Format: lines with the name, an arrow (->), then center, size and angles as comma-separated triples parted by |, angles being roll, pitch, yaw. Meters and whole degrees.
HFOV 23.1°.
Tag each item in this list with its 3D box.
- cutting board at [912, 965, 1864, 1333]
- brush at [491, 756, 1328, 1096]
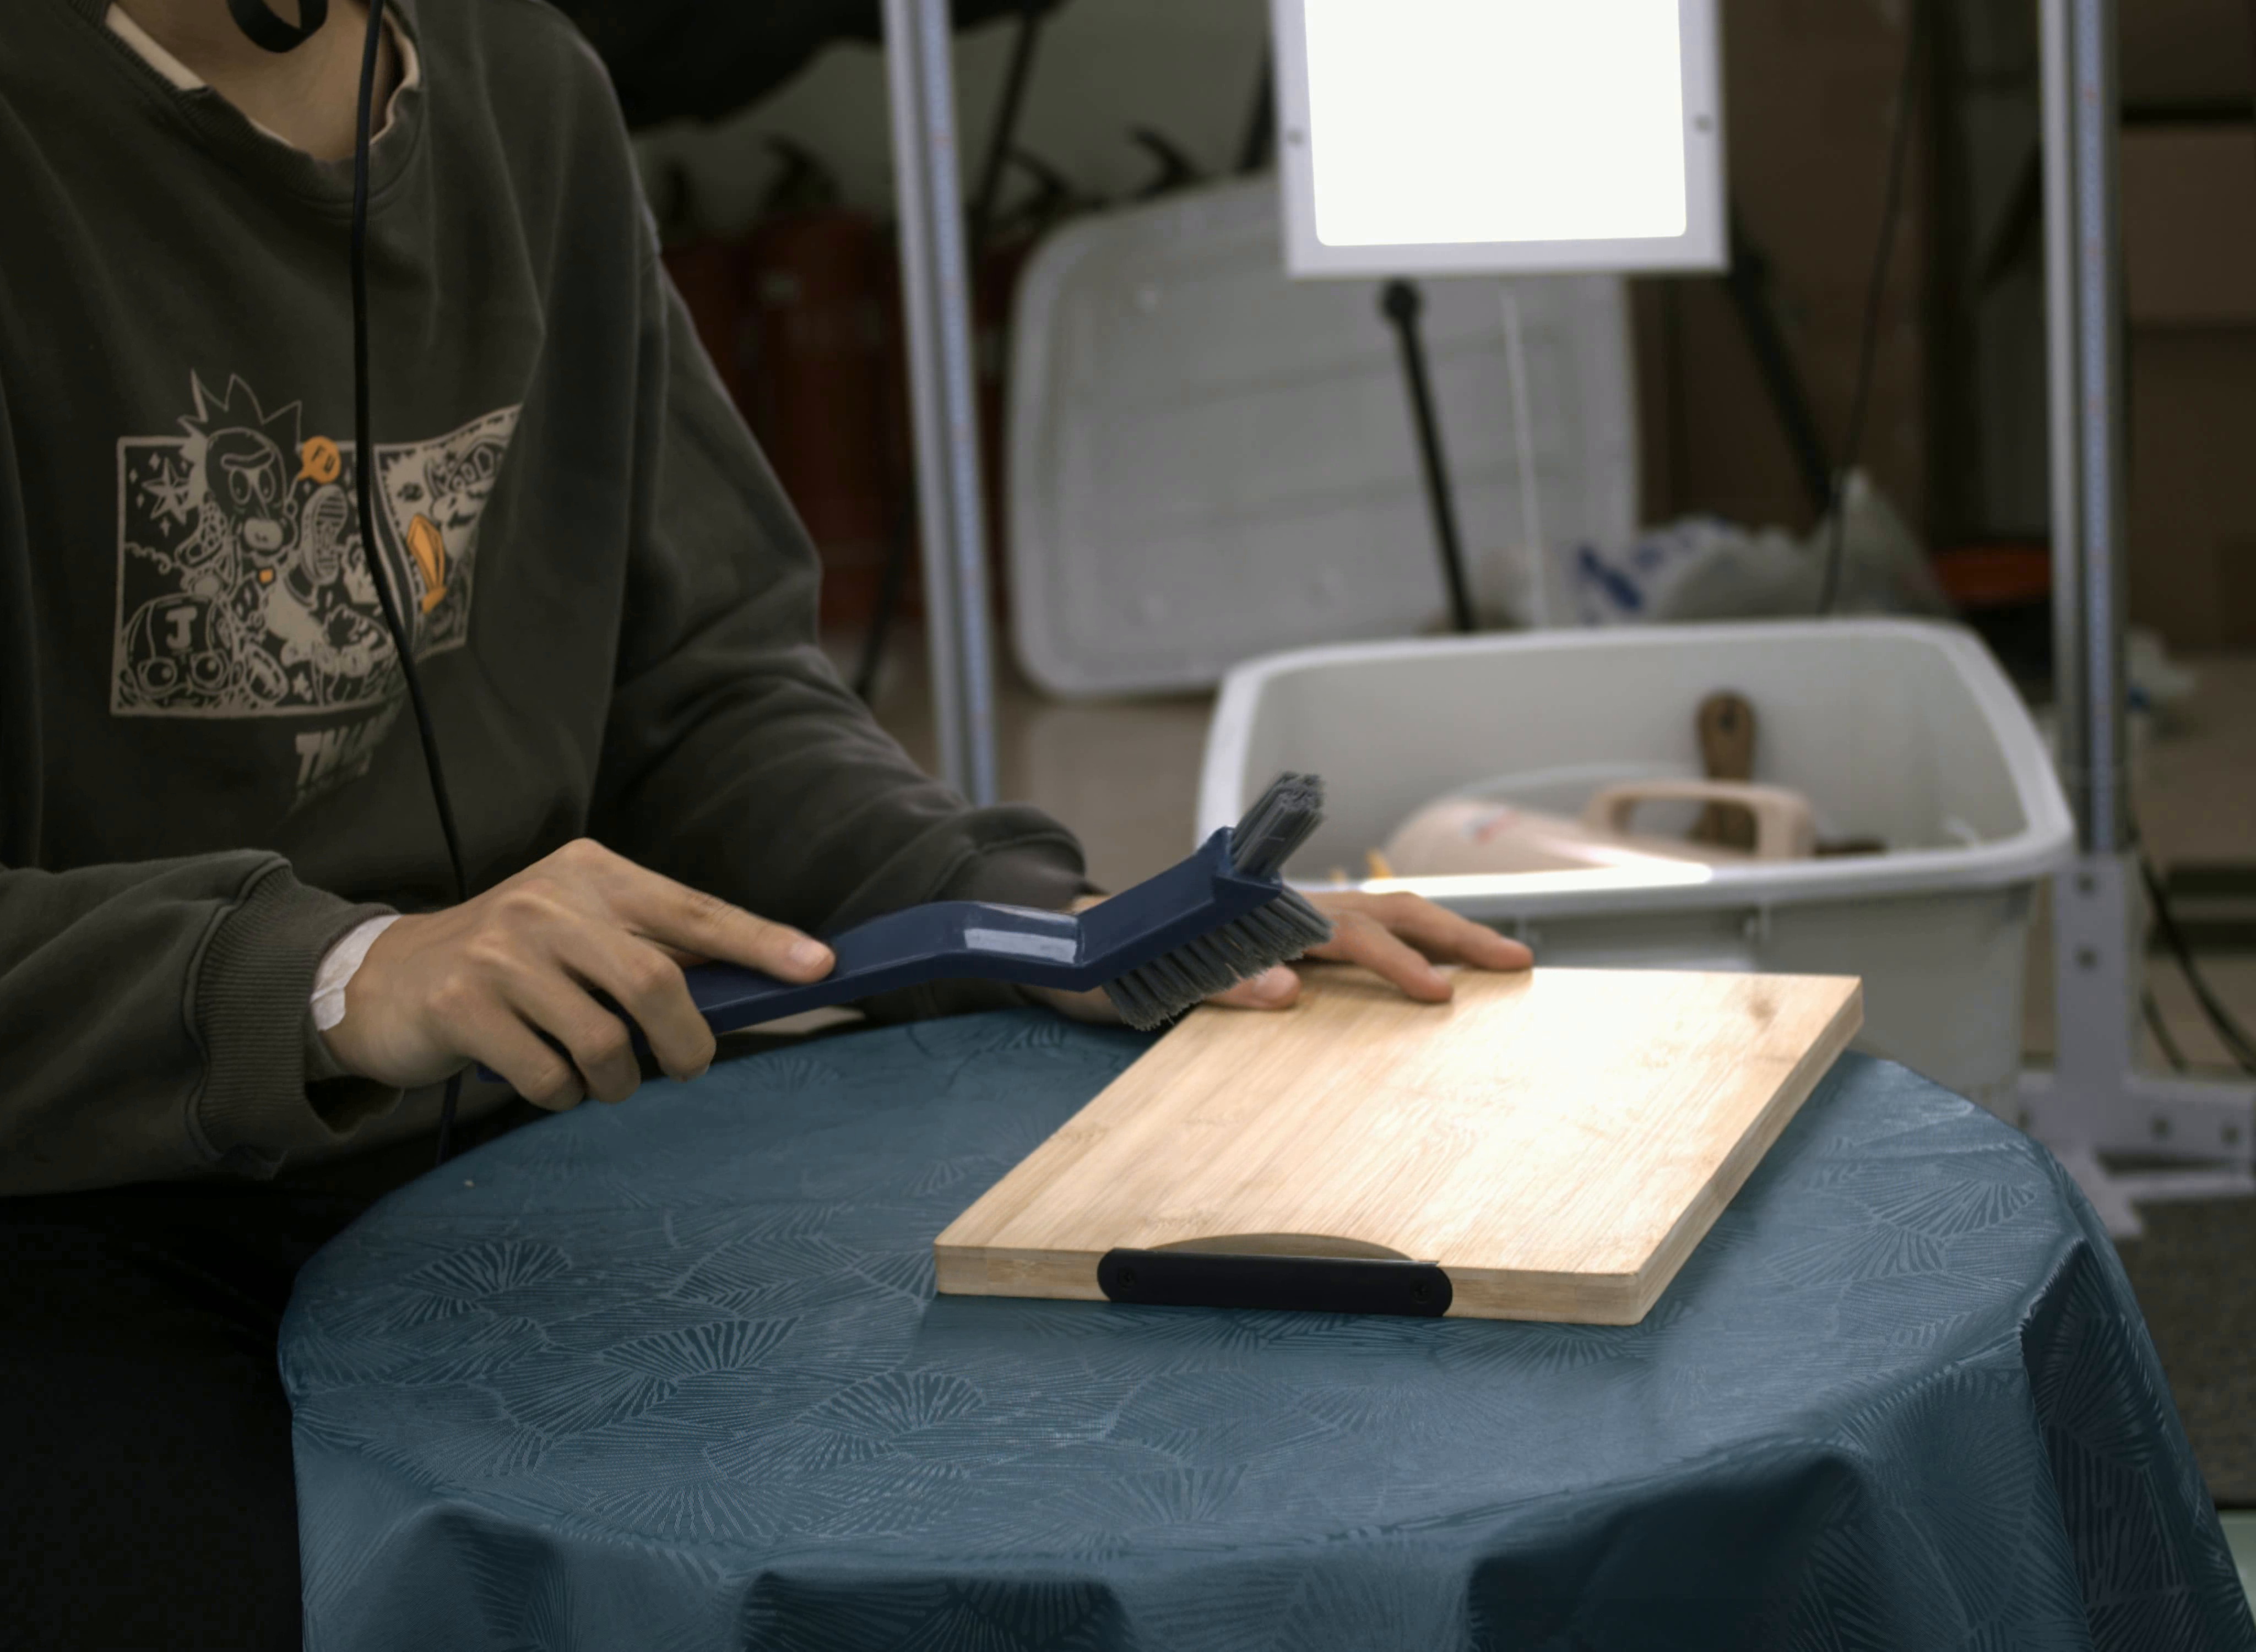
cutting board -> 0.101, 0.107, 1.907 | 0.254, 0.023, 0.342 | 0, 14, 20
brush -> -0.073, 0.034, 1.721 | 0.274, 0.095, 0.033 | -8, 44, 8
